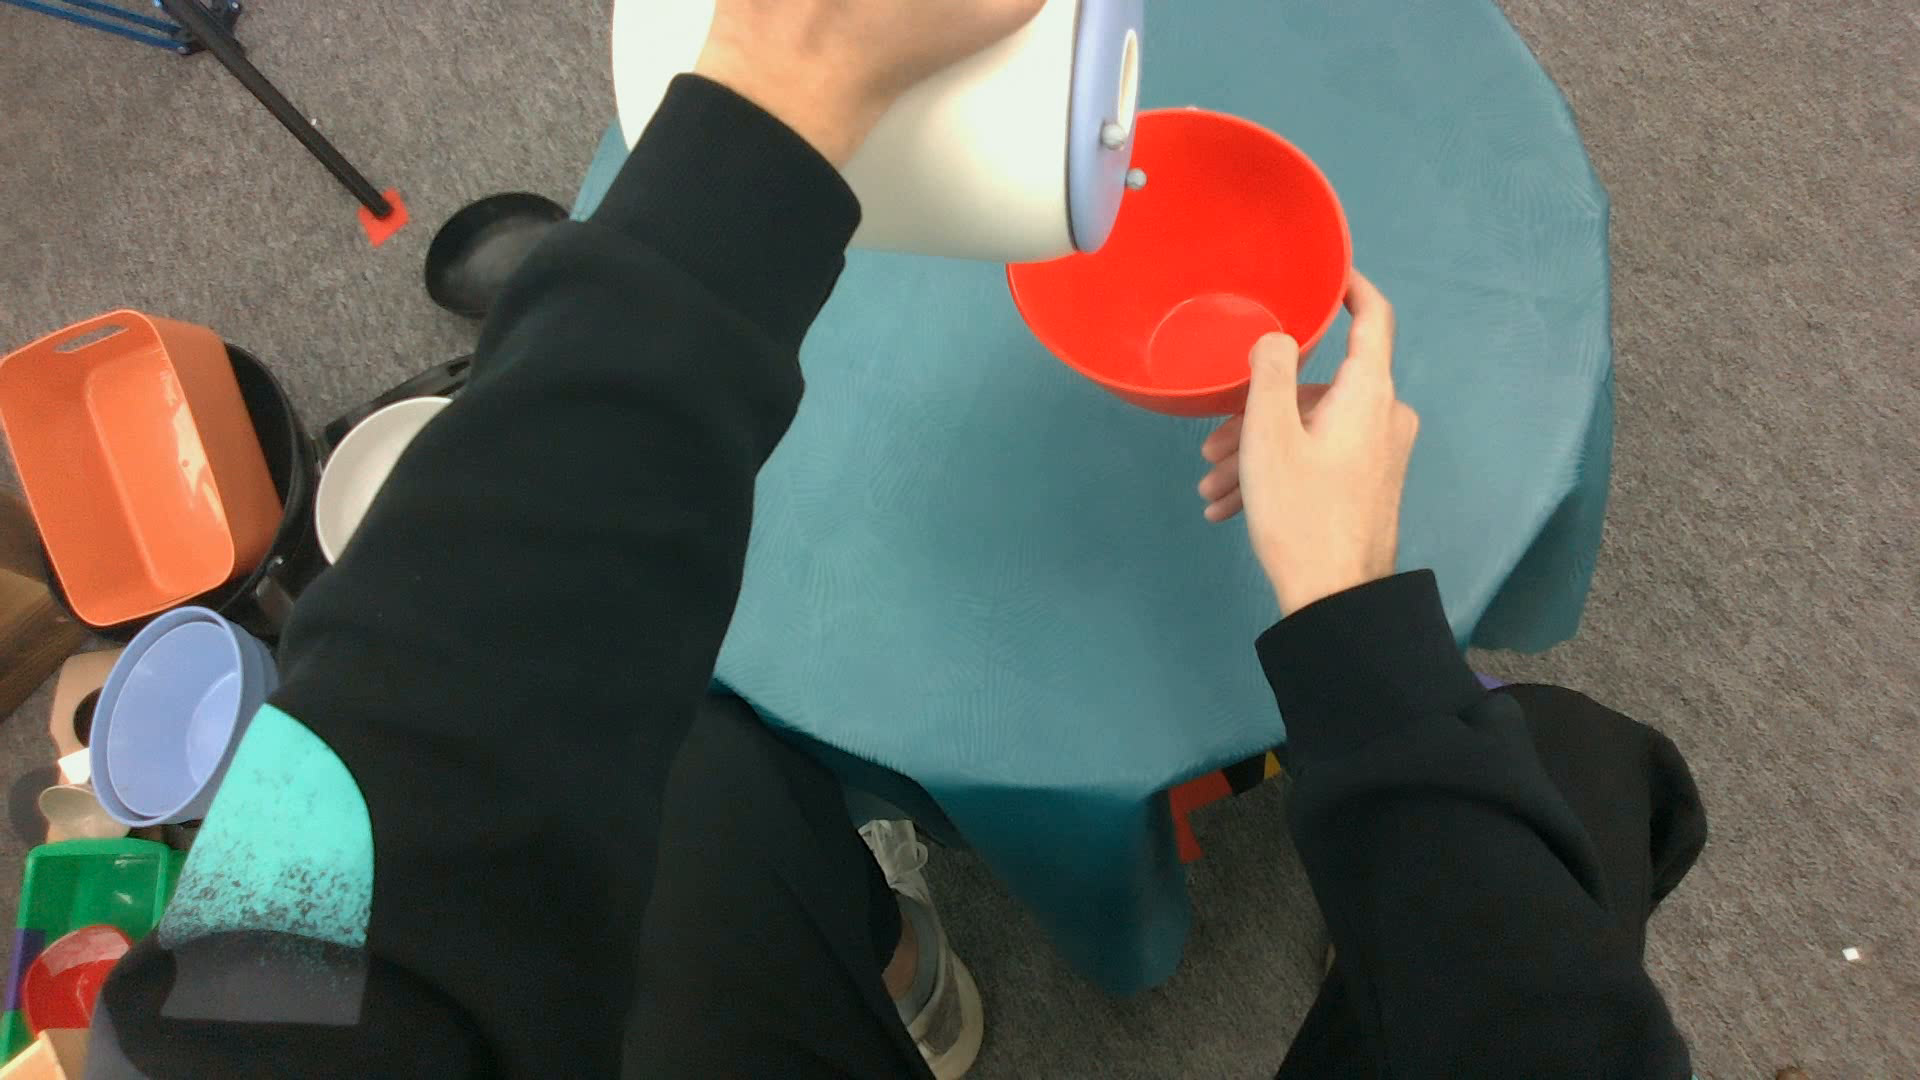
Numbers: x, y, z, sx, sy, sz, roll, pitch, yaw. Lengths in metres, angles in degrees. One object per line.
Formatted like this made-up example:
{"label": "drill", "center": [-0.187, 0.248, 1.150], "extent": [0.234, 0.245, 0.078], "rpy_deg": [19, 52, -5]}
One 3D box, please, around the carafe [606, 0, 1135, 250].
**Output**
{"label": "carafe", "center": [-0.033, -0.187, 0.501], "extent": [0.182, 0.191, 0.132], "rpy_deg": [7, 80, 12]}

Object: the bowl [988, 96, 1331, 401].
{"label": "bowl", "center": [0.097, -0.120, 0.640], "extent": [0.148, 0.104, 0.148], "rpy_deg": [-6, 64, 13]}
